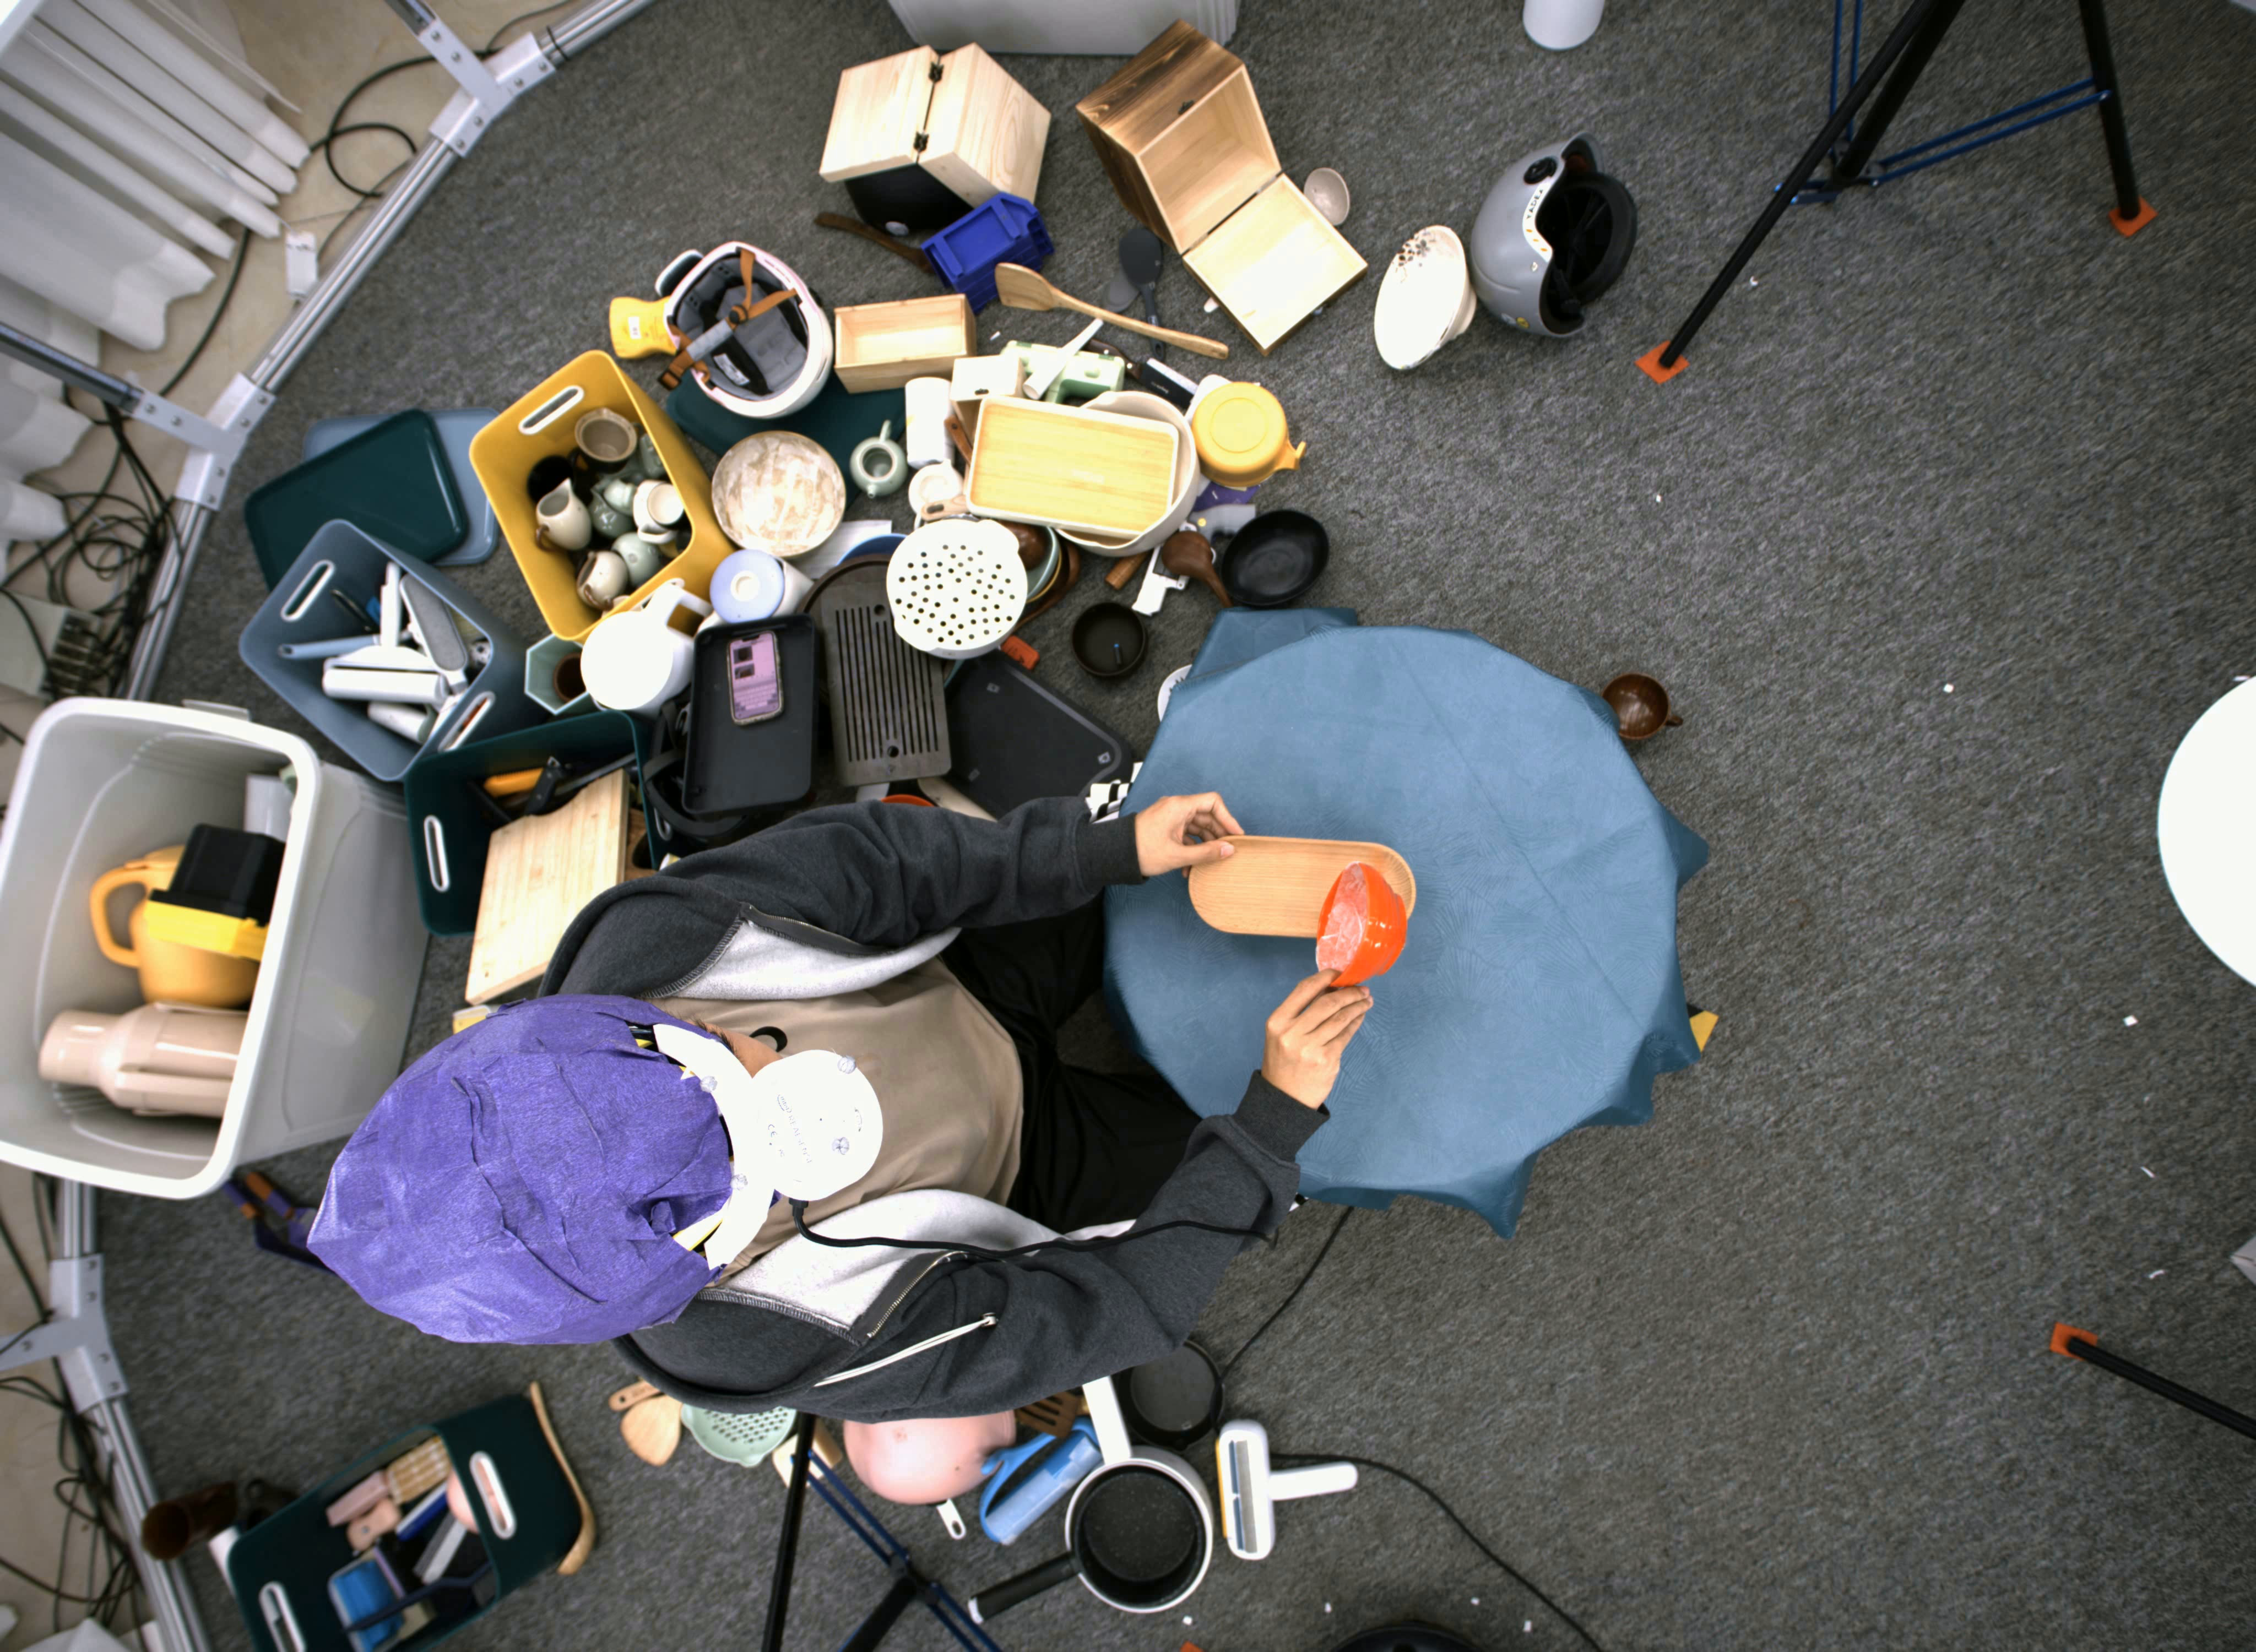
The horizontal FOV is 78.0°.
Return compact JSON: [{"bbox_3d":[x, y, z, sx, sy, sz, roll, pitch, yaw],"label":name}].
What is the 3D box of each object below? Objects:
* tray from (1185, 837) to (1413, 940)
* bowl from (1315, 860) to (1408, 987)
[{"bbox_3d":[0.173,0.064,1.409,0.231,0.020,0.101,2,87,4],"label":"tray"},{"bbox_3d":[0.219,0.093,1.275,0.051,0.119,0.118,13,87,-14],"label":"bowl"}]
